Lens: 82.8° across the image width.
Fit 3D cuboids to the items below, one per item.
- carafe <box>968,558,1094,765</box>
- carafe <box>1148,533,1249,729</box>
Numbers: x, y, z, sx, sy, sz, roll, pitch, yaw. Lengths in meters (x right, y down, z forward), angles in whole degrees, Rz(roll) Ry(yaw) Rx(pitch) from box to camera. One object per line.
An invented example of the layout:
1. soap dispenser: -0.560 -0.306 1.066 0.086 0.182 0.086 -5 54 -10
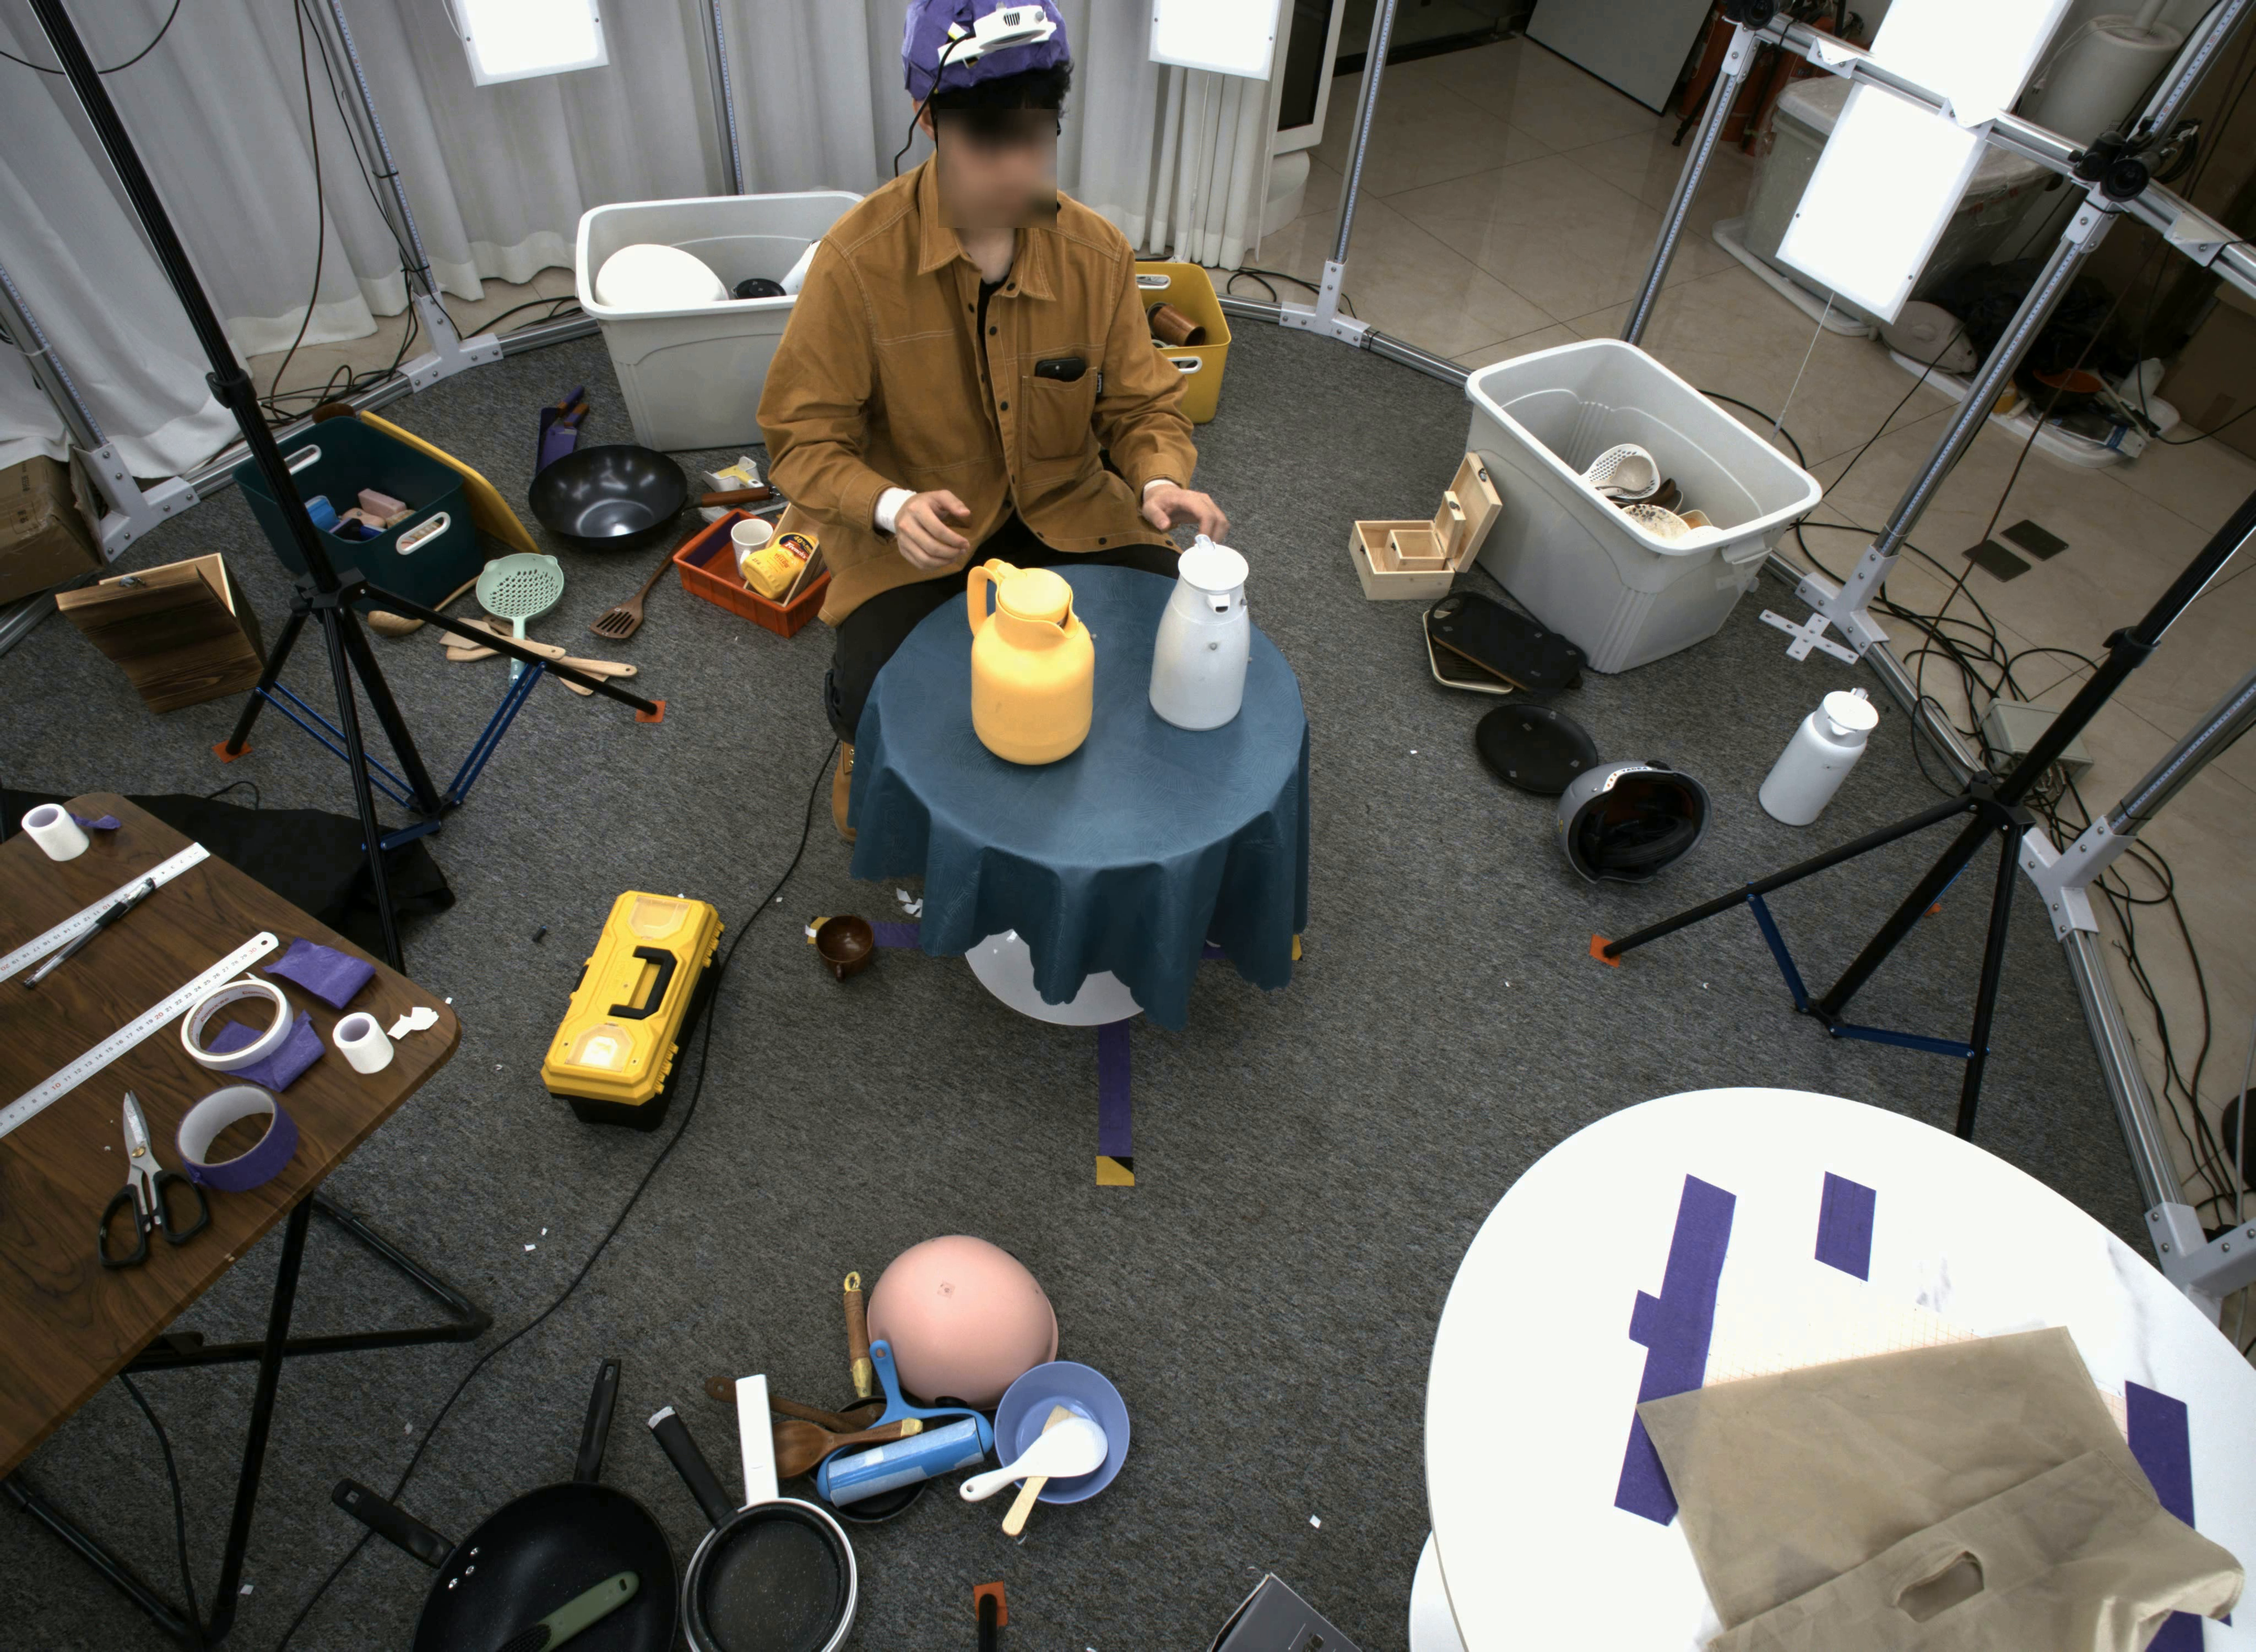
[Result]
1. carafe: -0.137 -0.225 1.688 0.164 0.254 0.206 -30 58 -29
2. carafe: 0.098 -0.277 1.754 0.132 0.242 0.172 -5 50 -9
